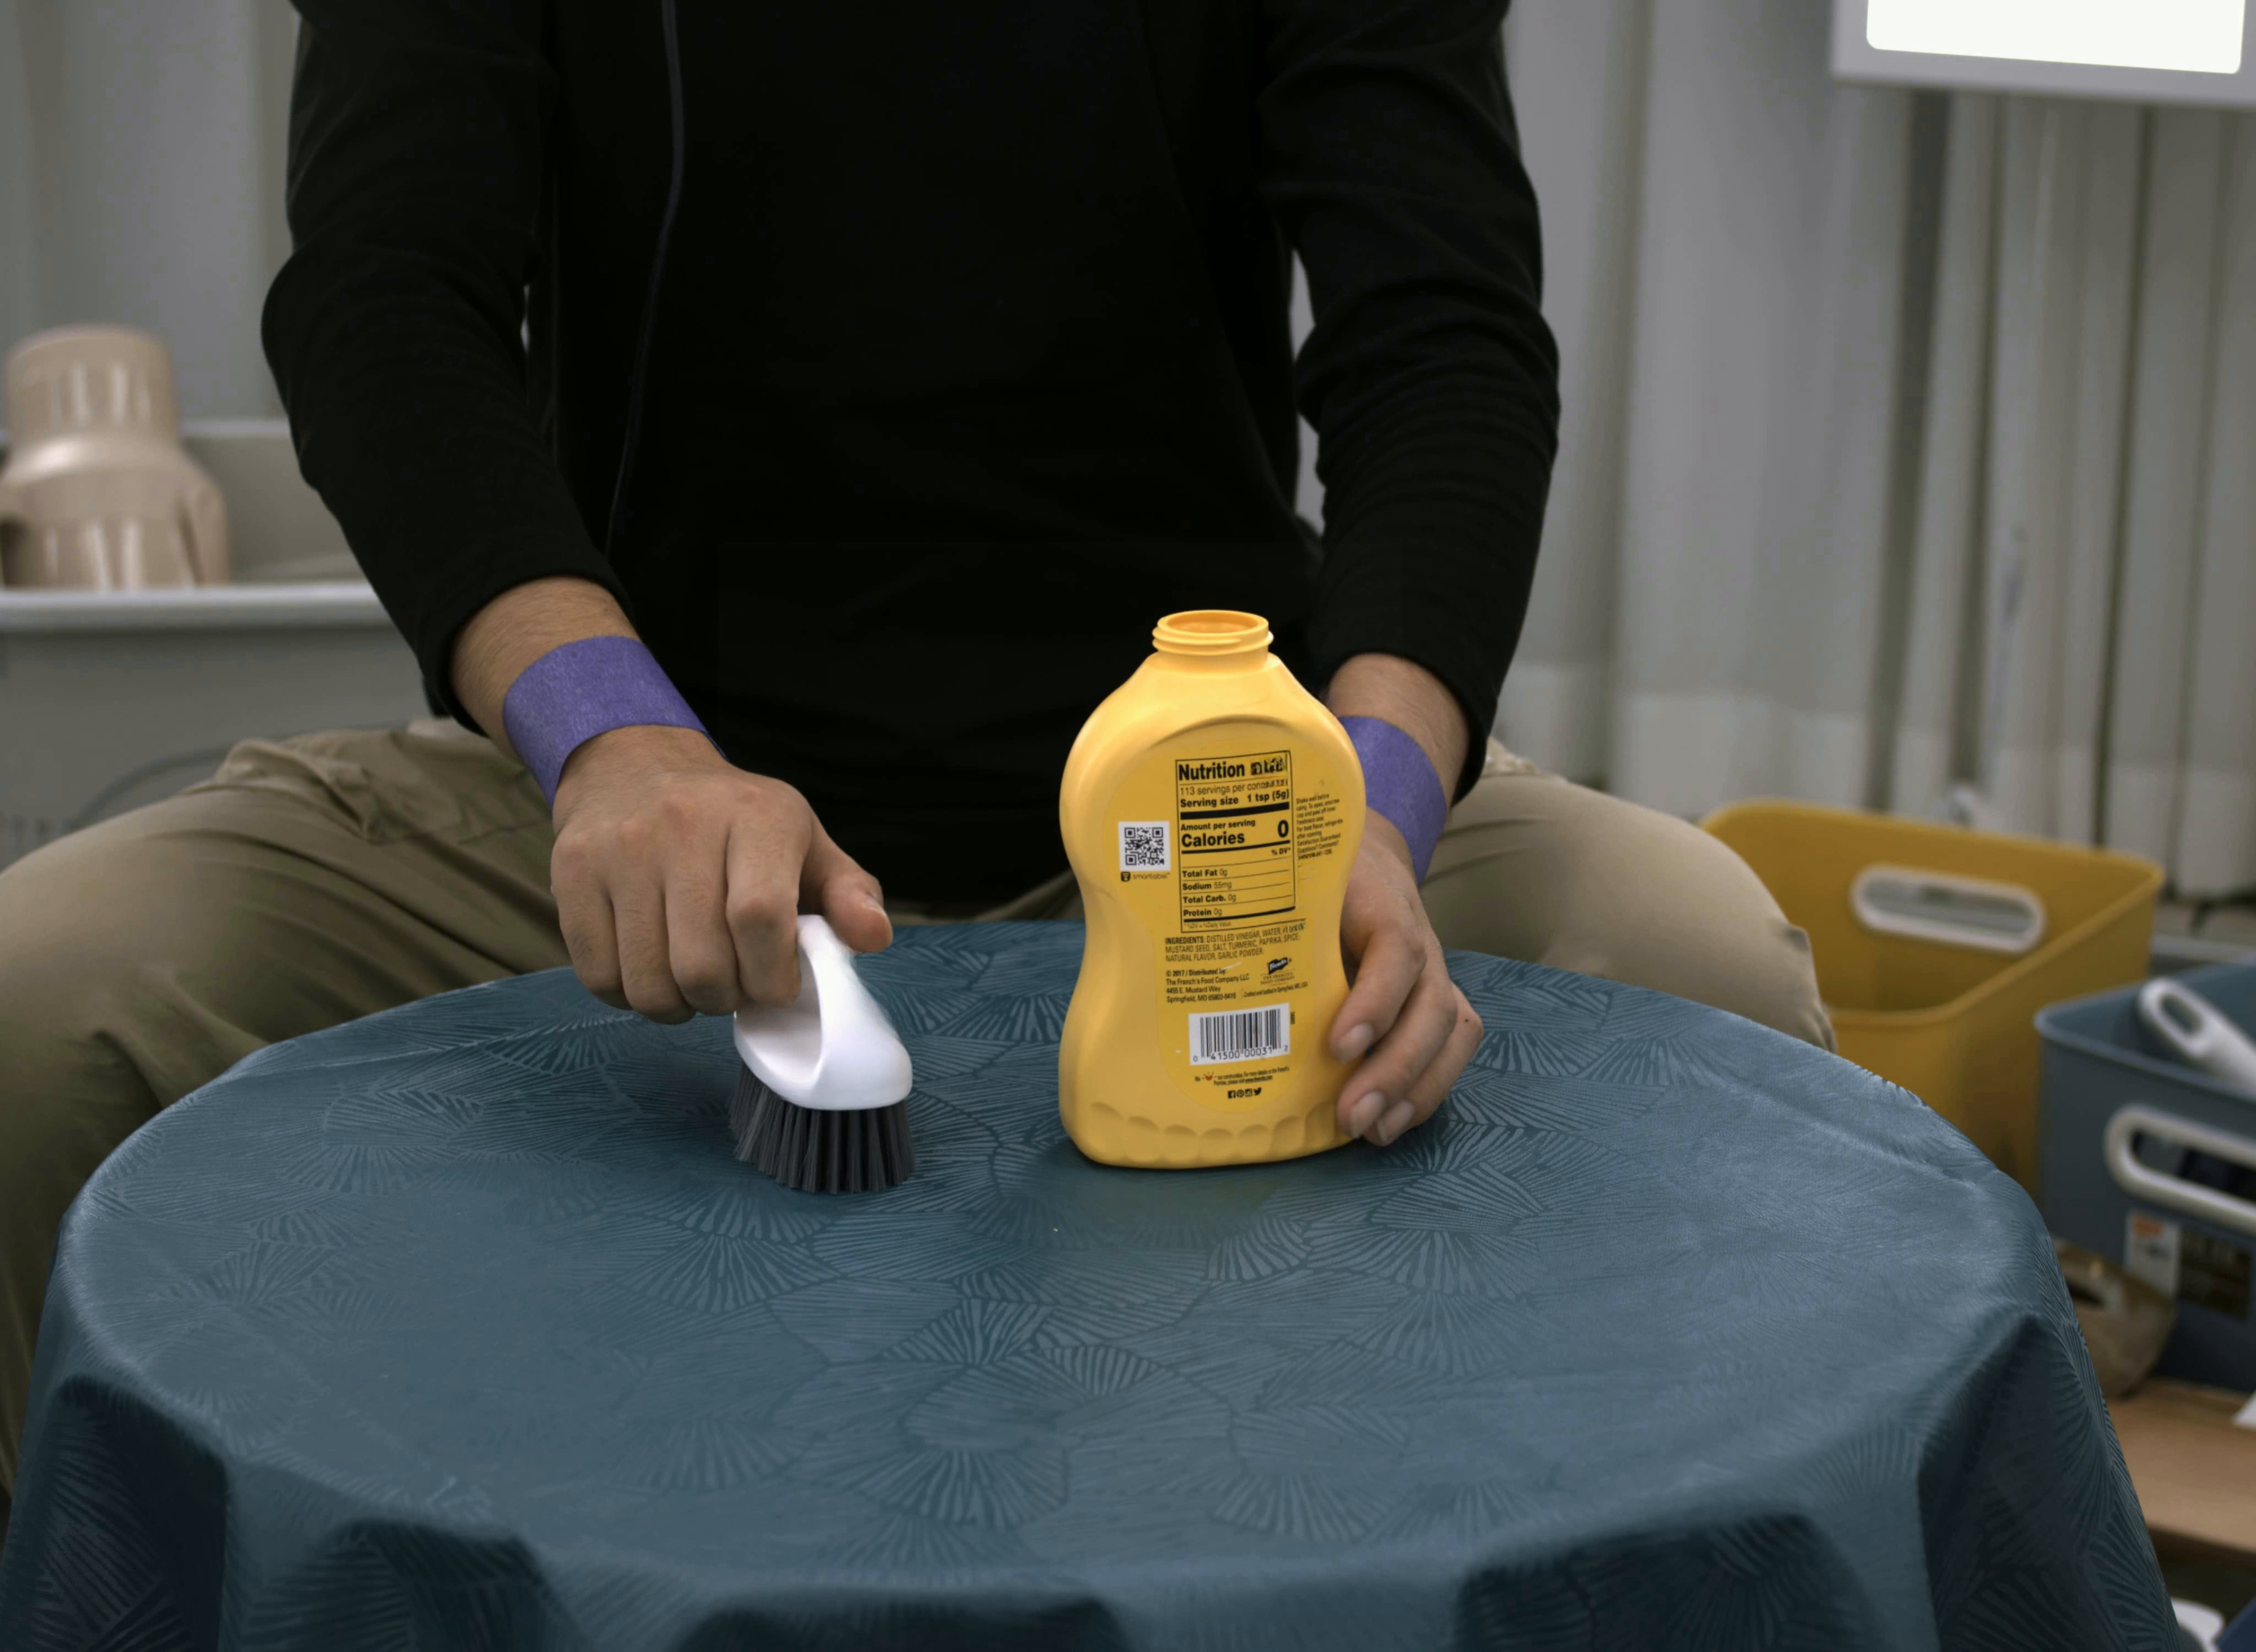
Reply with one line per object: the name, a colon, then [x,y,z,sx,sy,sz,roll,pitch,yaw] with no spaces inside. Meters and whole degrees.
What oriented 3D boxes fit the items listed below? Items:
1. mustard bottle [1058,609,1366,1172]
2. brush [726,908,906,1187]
mustard bottle: [0.025,0.019,1.641,0.098,0.173,0.059,-6,15,-15]
brush: [-0.098,0.064,1.651,0.050,0.073,0.098,-2,17,-15]
